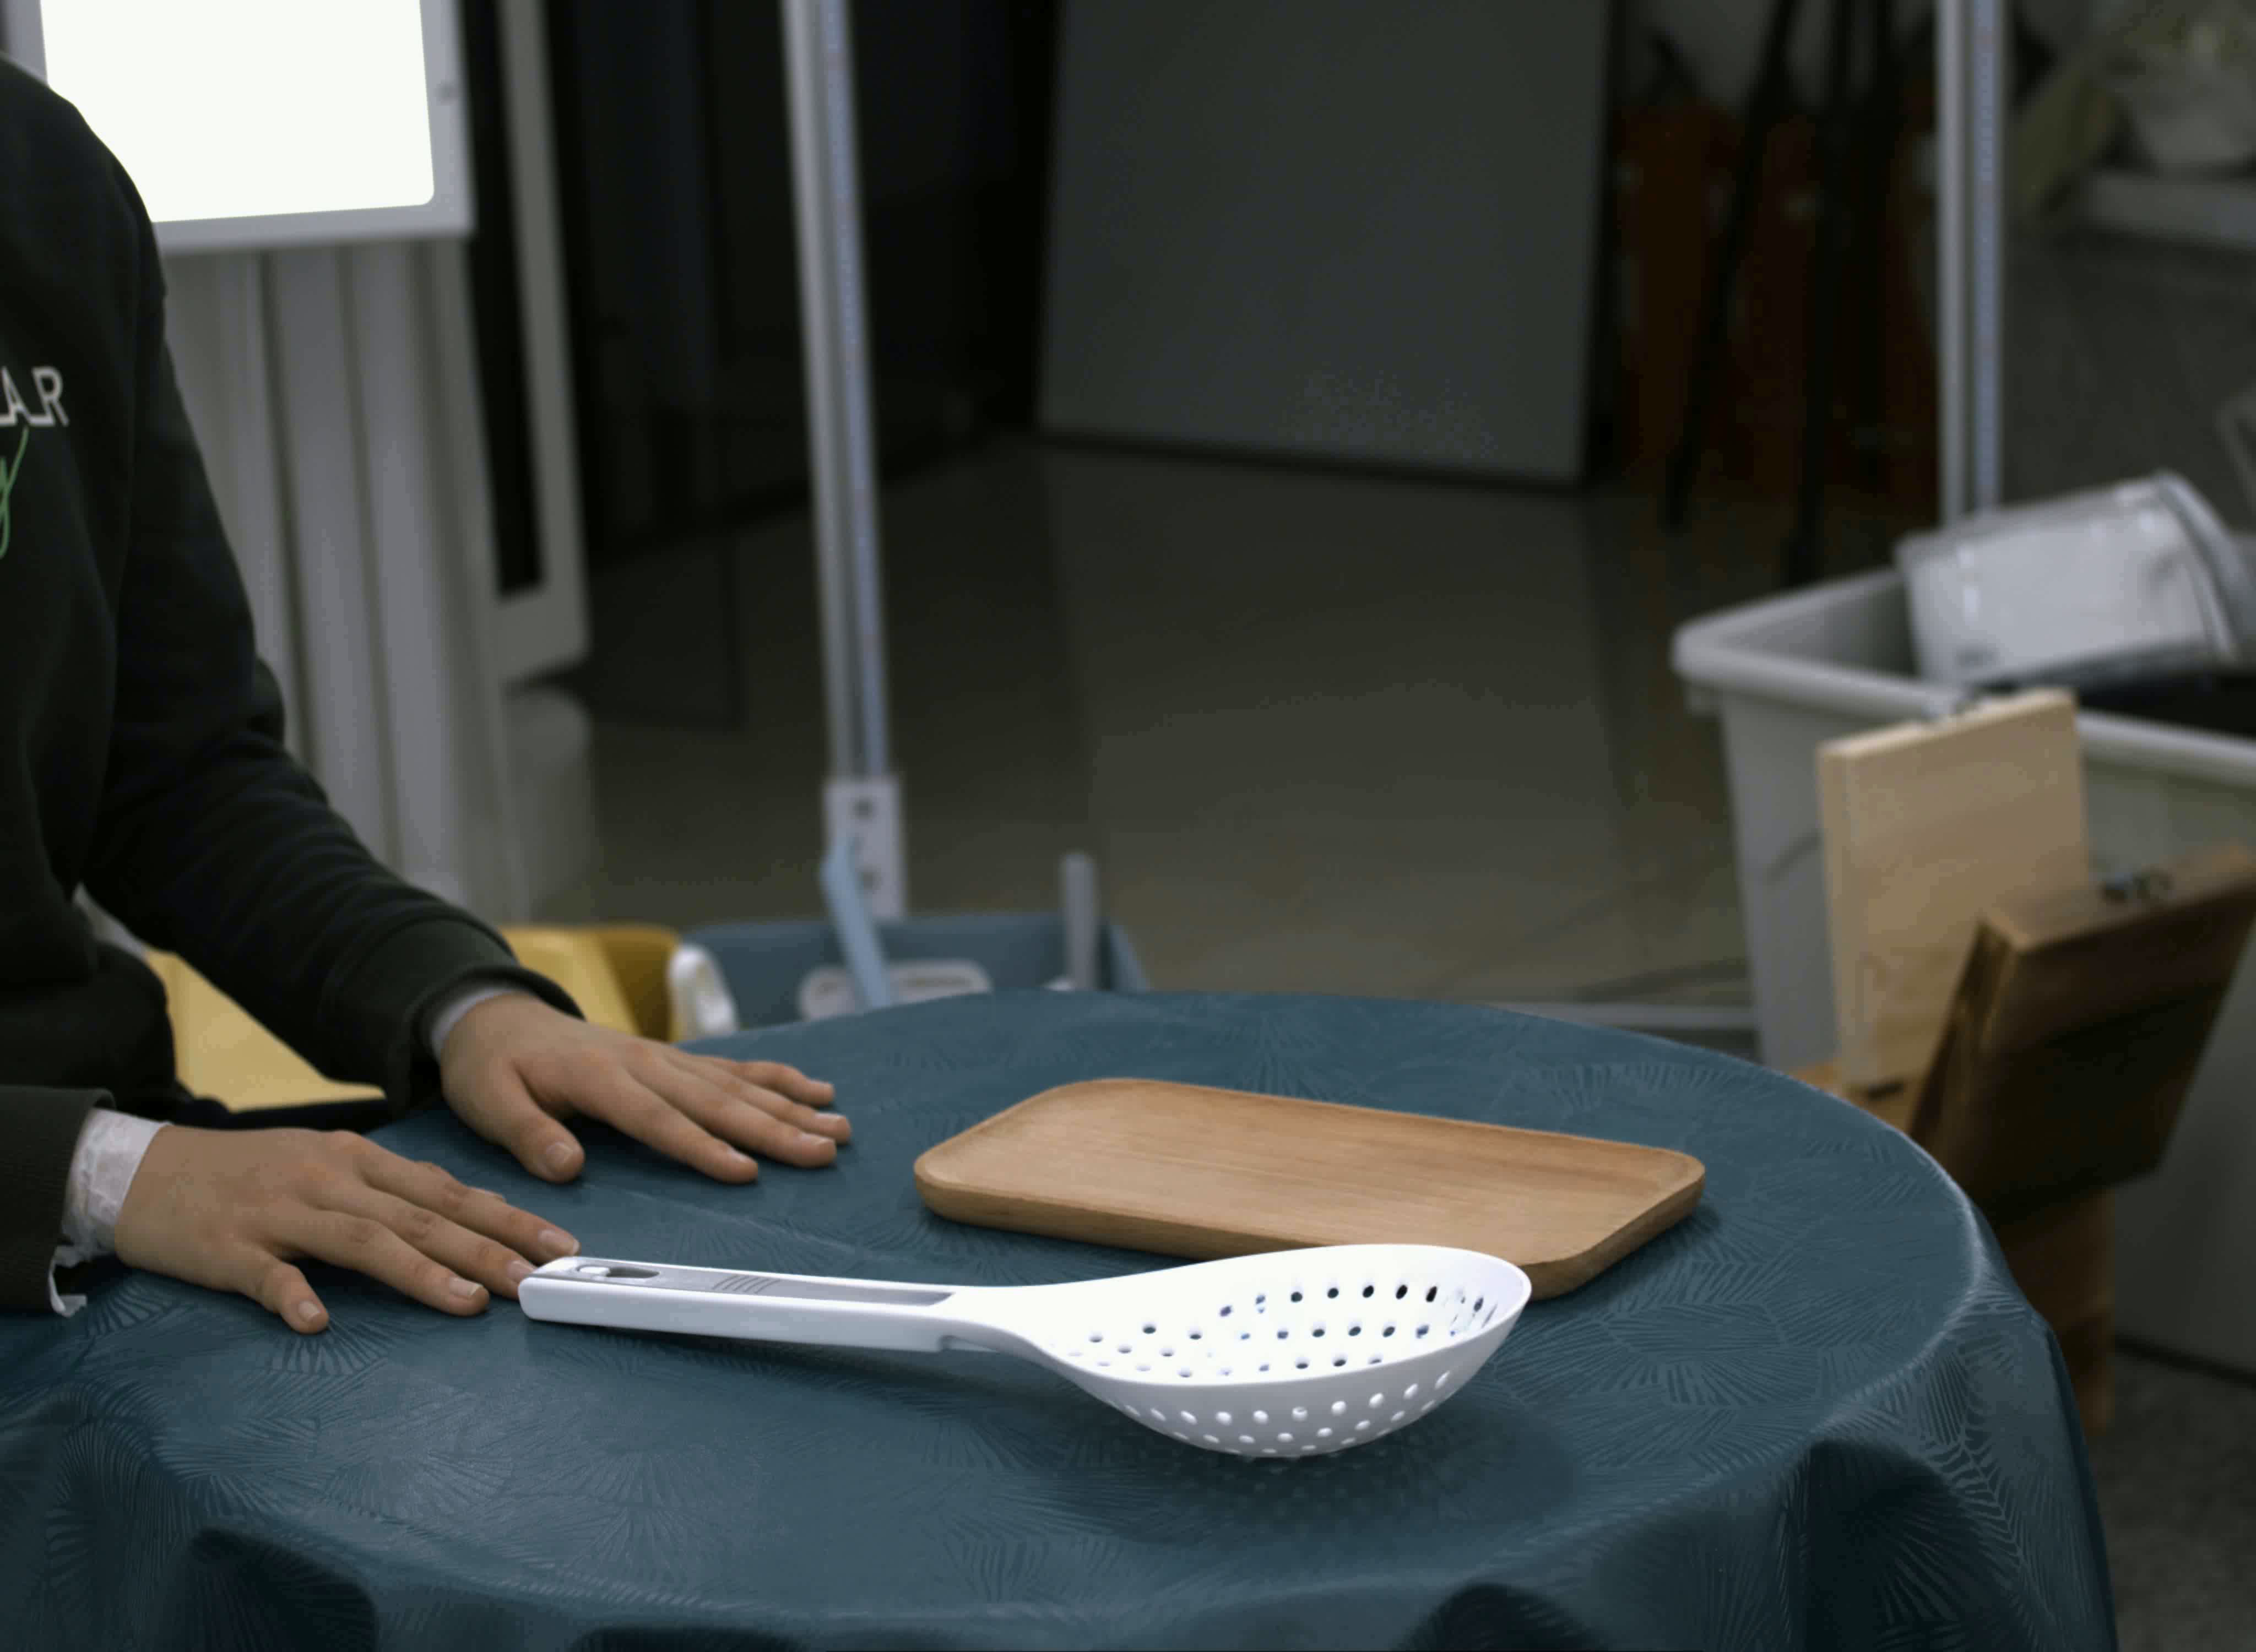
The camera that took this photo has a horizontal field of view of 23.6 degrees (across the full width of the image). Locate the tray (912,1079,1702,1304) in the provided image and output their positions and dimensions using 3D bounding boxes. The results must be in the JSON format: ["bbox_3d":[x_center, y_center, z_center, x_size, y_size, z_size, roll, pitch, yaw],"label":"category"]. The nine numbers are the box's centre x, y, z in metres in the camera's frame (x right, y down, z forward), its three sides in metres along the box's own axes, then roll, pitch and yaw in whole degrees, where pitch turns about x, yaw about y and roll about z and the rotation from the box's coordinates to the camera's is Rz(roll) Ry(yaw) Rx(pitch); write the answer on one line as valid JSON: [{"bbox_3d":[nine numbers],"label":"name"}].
[{"bbox_3d":[0.056,0.117,1.739,0.252,0.023,0.128,4,14,34],"label":"tray"}]

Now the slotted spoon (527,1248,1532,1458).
[{"bbox_3d":[-0.039,0.146,1.589,0.352,0.046,0.133,5,14,35],"label":"slotted spoon"}]
